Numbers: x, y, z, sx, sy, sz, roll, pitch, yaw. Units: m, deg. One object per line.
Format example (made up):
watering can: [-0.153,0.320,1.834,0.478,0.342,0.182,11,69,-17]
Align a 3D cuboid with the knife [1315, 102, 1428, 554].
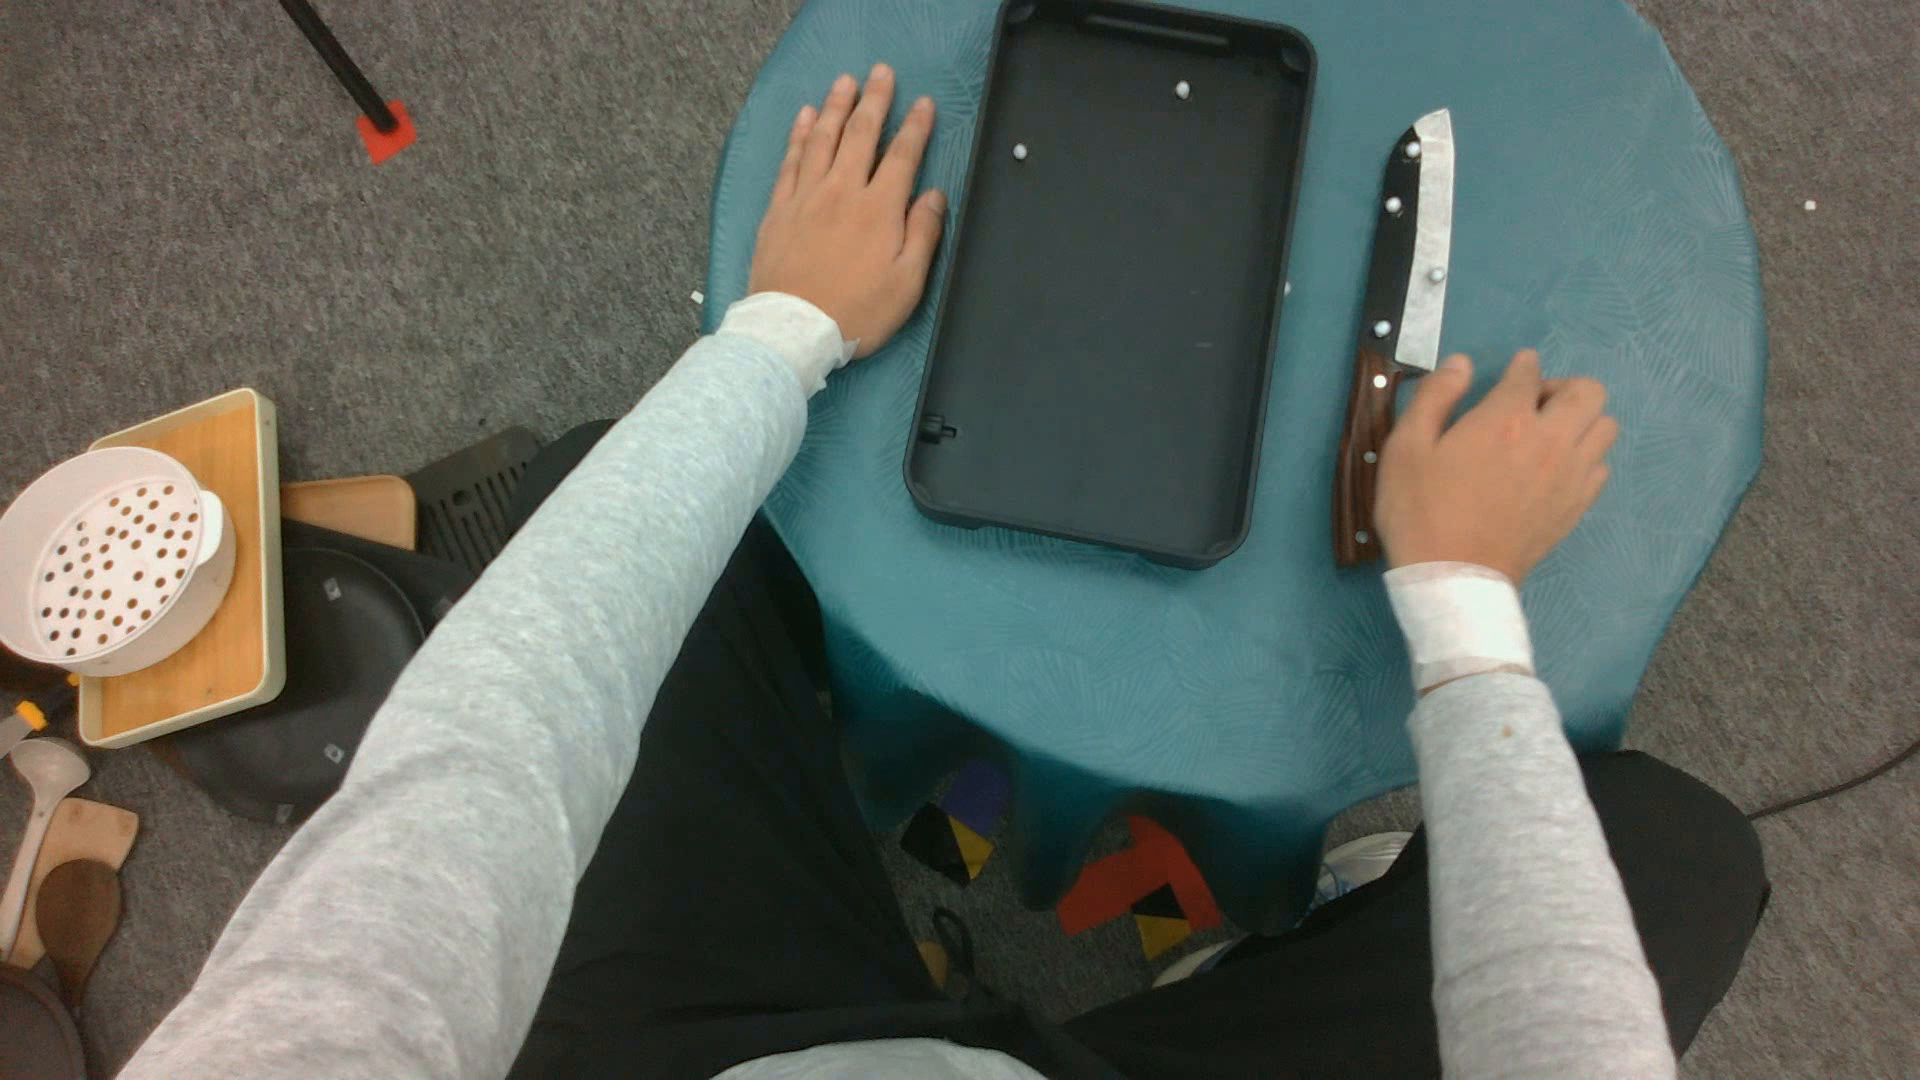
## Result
knife: [0.232,-0.125,0.769,0.050,0.020,0.290,16,72,-4]

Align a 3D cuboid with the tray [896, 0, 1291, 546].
tray: [0.077,-0.160,0.763,0.184,0.037,0.318,8,75,1]
